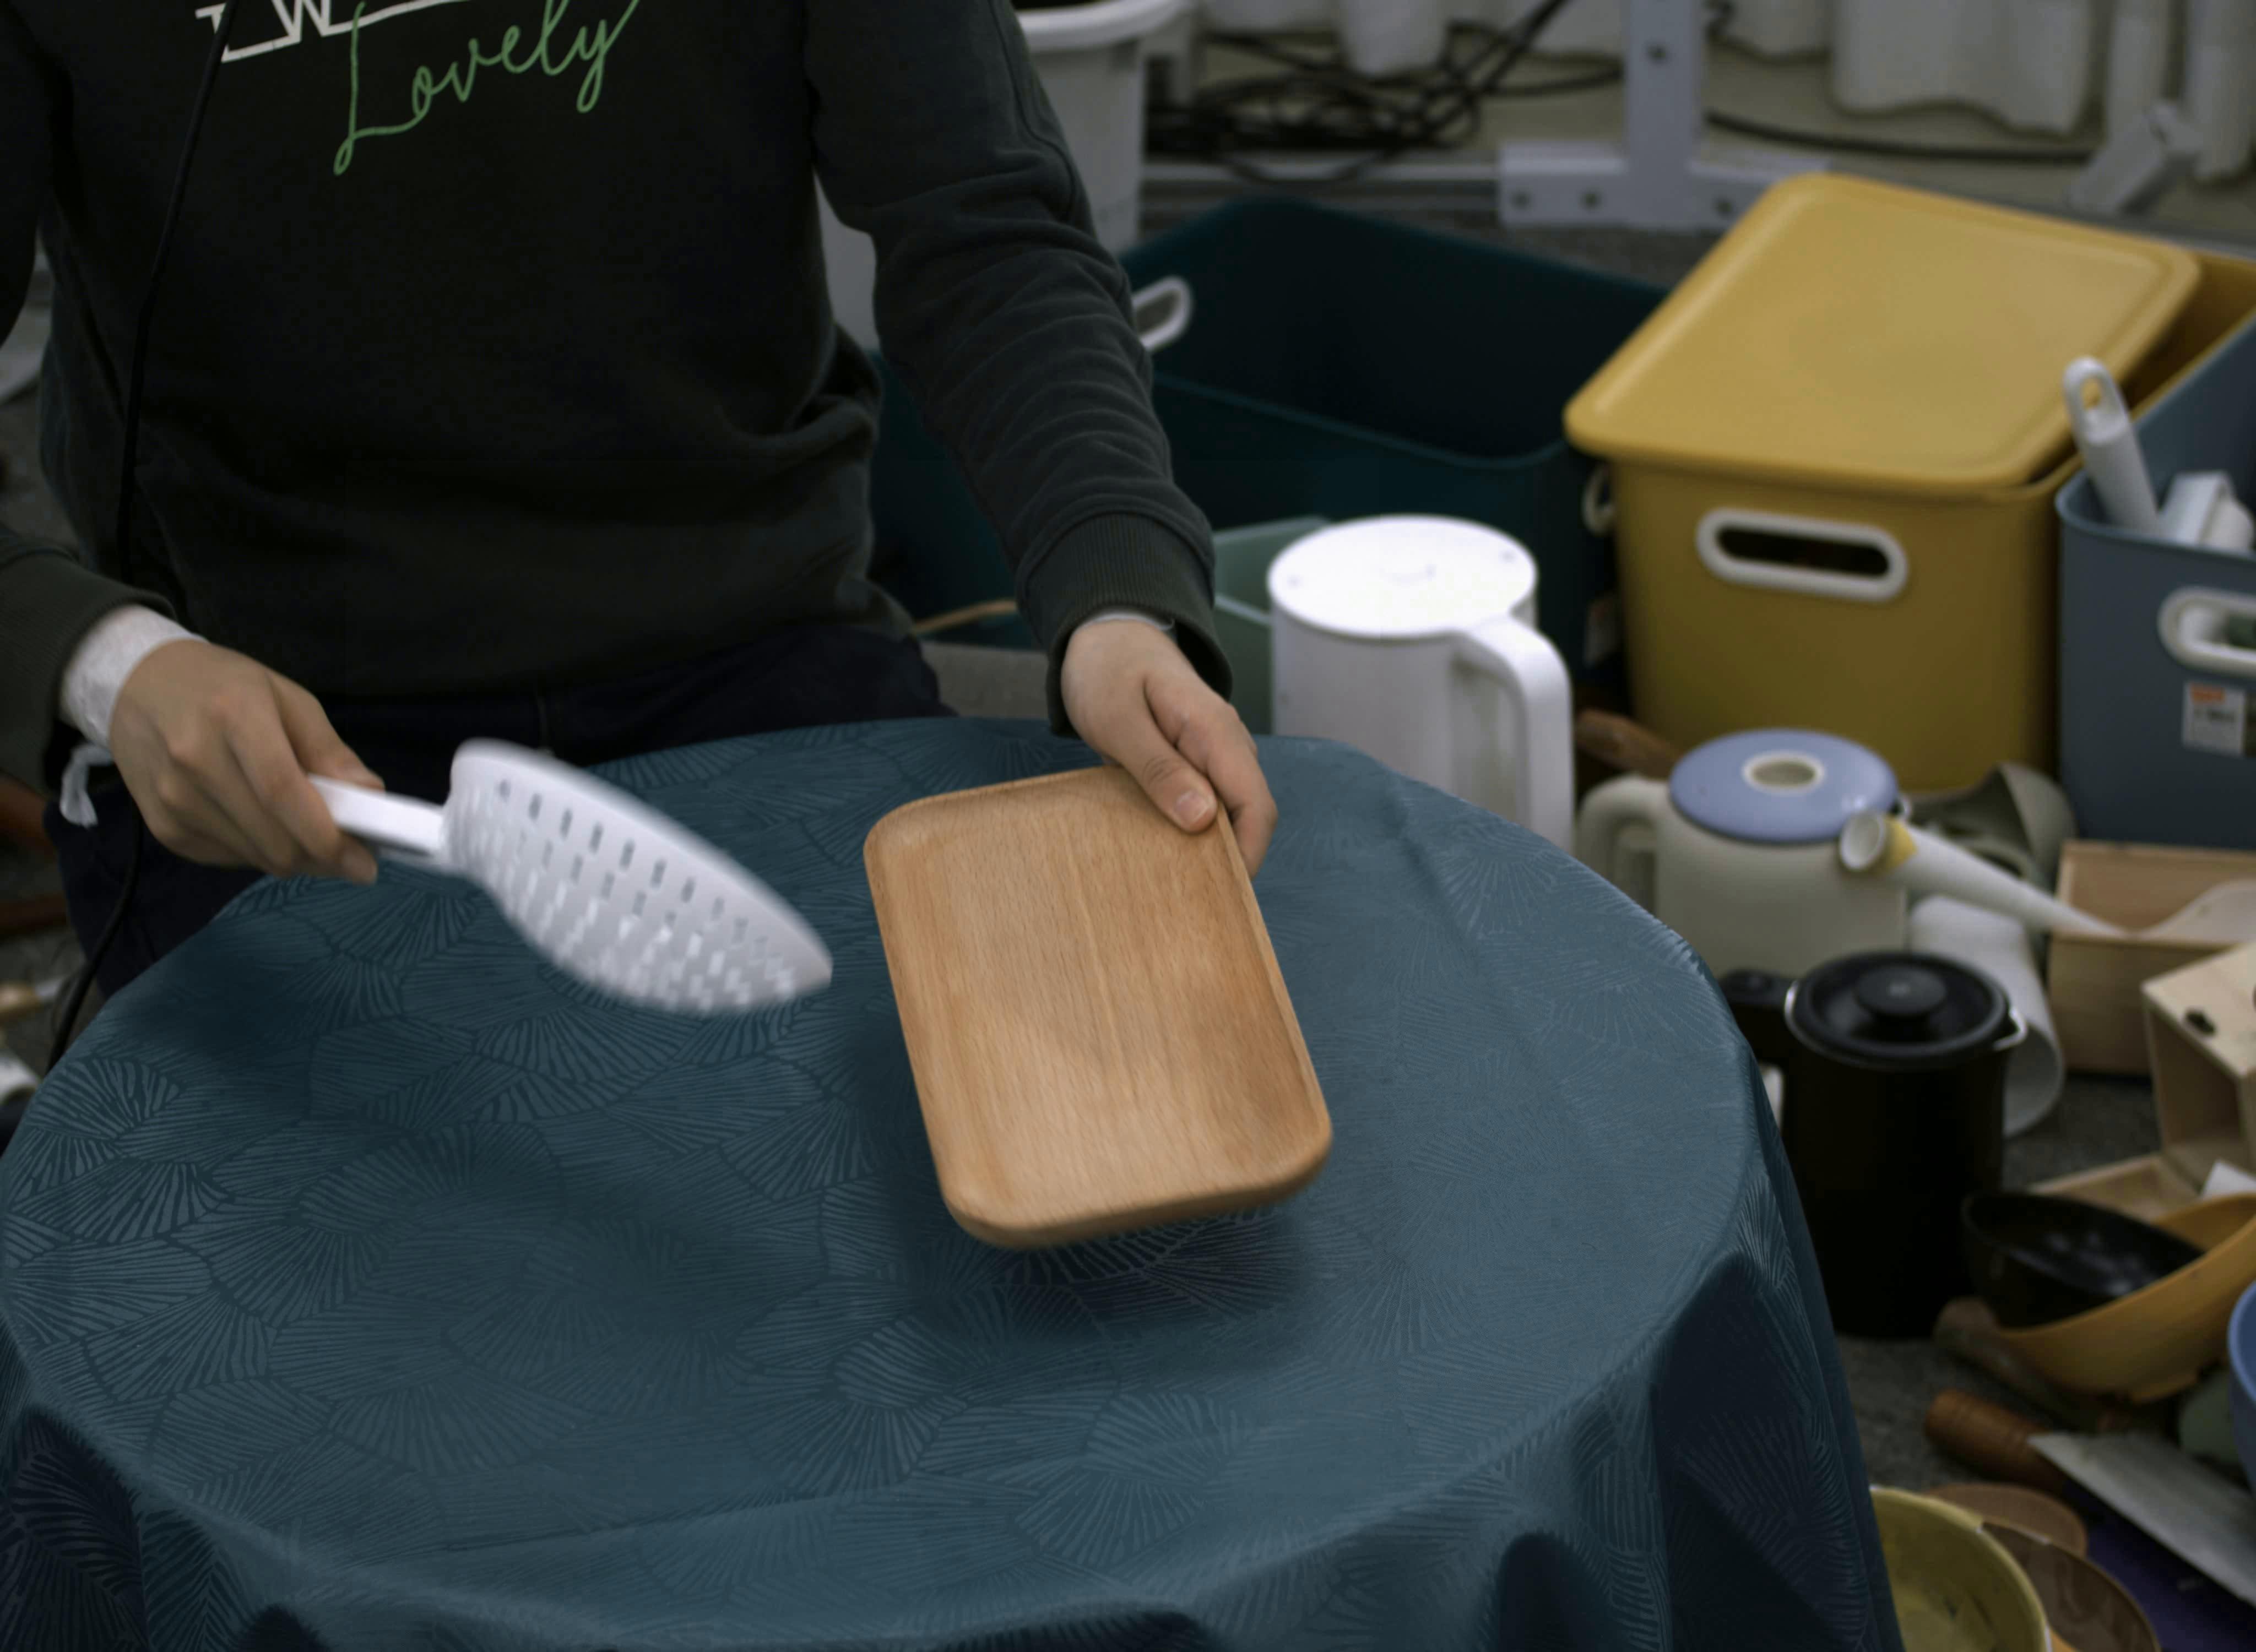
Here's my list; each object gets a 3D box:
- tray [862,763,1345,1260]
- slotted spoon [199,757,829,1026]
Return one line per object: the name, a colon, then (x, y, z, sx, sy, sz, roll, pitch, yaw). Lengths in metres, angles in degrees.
tray: (-0.011, 0.059, 1.870, 0.130, 0.022, 0.254, -8, 33, -7)
slotted spoon: (-0.218, 0.010, 1.846, 0.046, 0.135, 0.349, -56, 34, -10)
